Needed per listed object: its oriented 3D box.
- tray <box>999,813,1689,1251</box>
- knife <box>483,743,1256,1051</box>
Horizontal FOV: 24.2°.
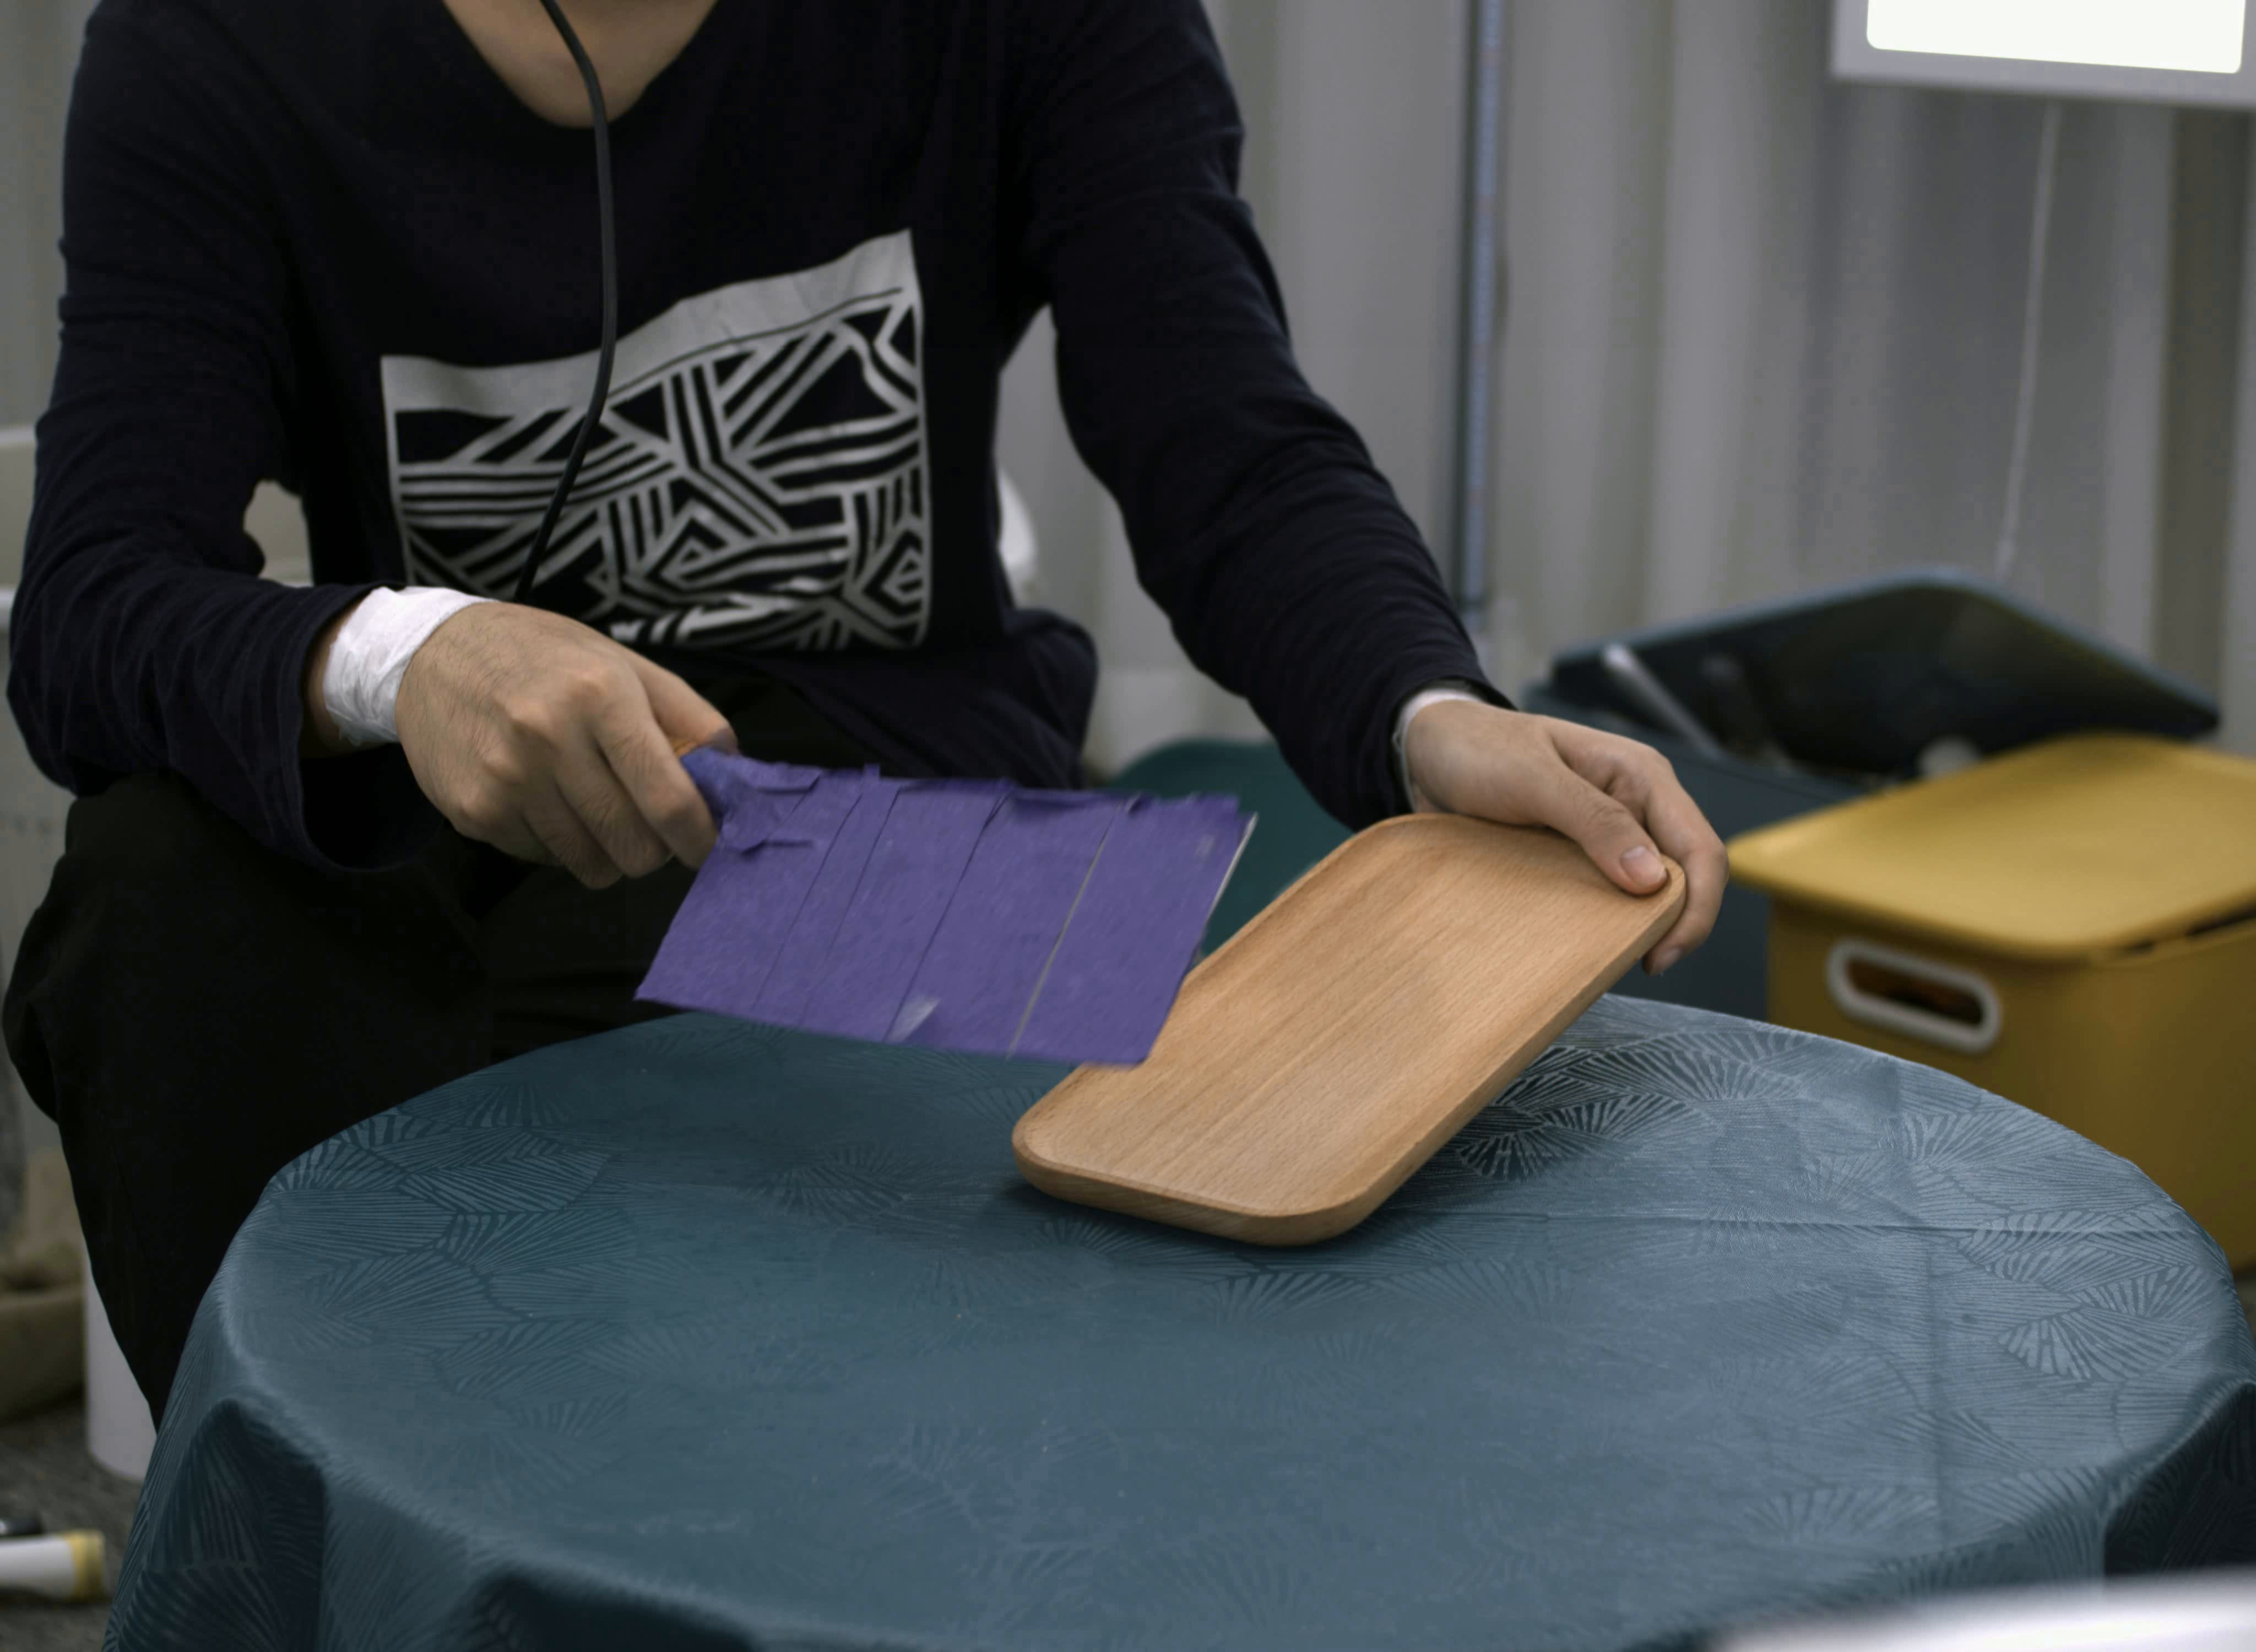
[{"bbox_3d":[0.072,0.063,1.679,0.129,0.023,0.251,10,32,35],"label":"tray"},{"bbox_3d":[-0.100,0.020,1.612,0.311,0.032,0.103,4,57,42],"label":"knife"}]
